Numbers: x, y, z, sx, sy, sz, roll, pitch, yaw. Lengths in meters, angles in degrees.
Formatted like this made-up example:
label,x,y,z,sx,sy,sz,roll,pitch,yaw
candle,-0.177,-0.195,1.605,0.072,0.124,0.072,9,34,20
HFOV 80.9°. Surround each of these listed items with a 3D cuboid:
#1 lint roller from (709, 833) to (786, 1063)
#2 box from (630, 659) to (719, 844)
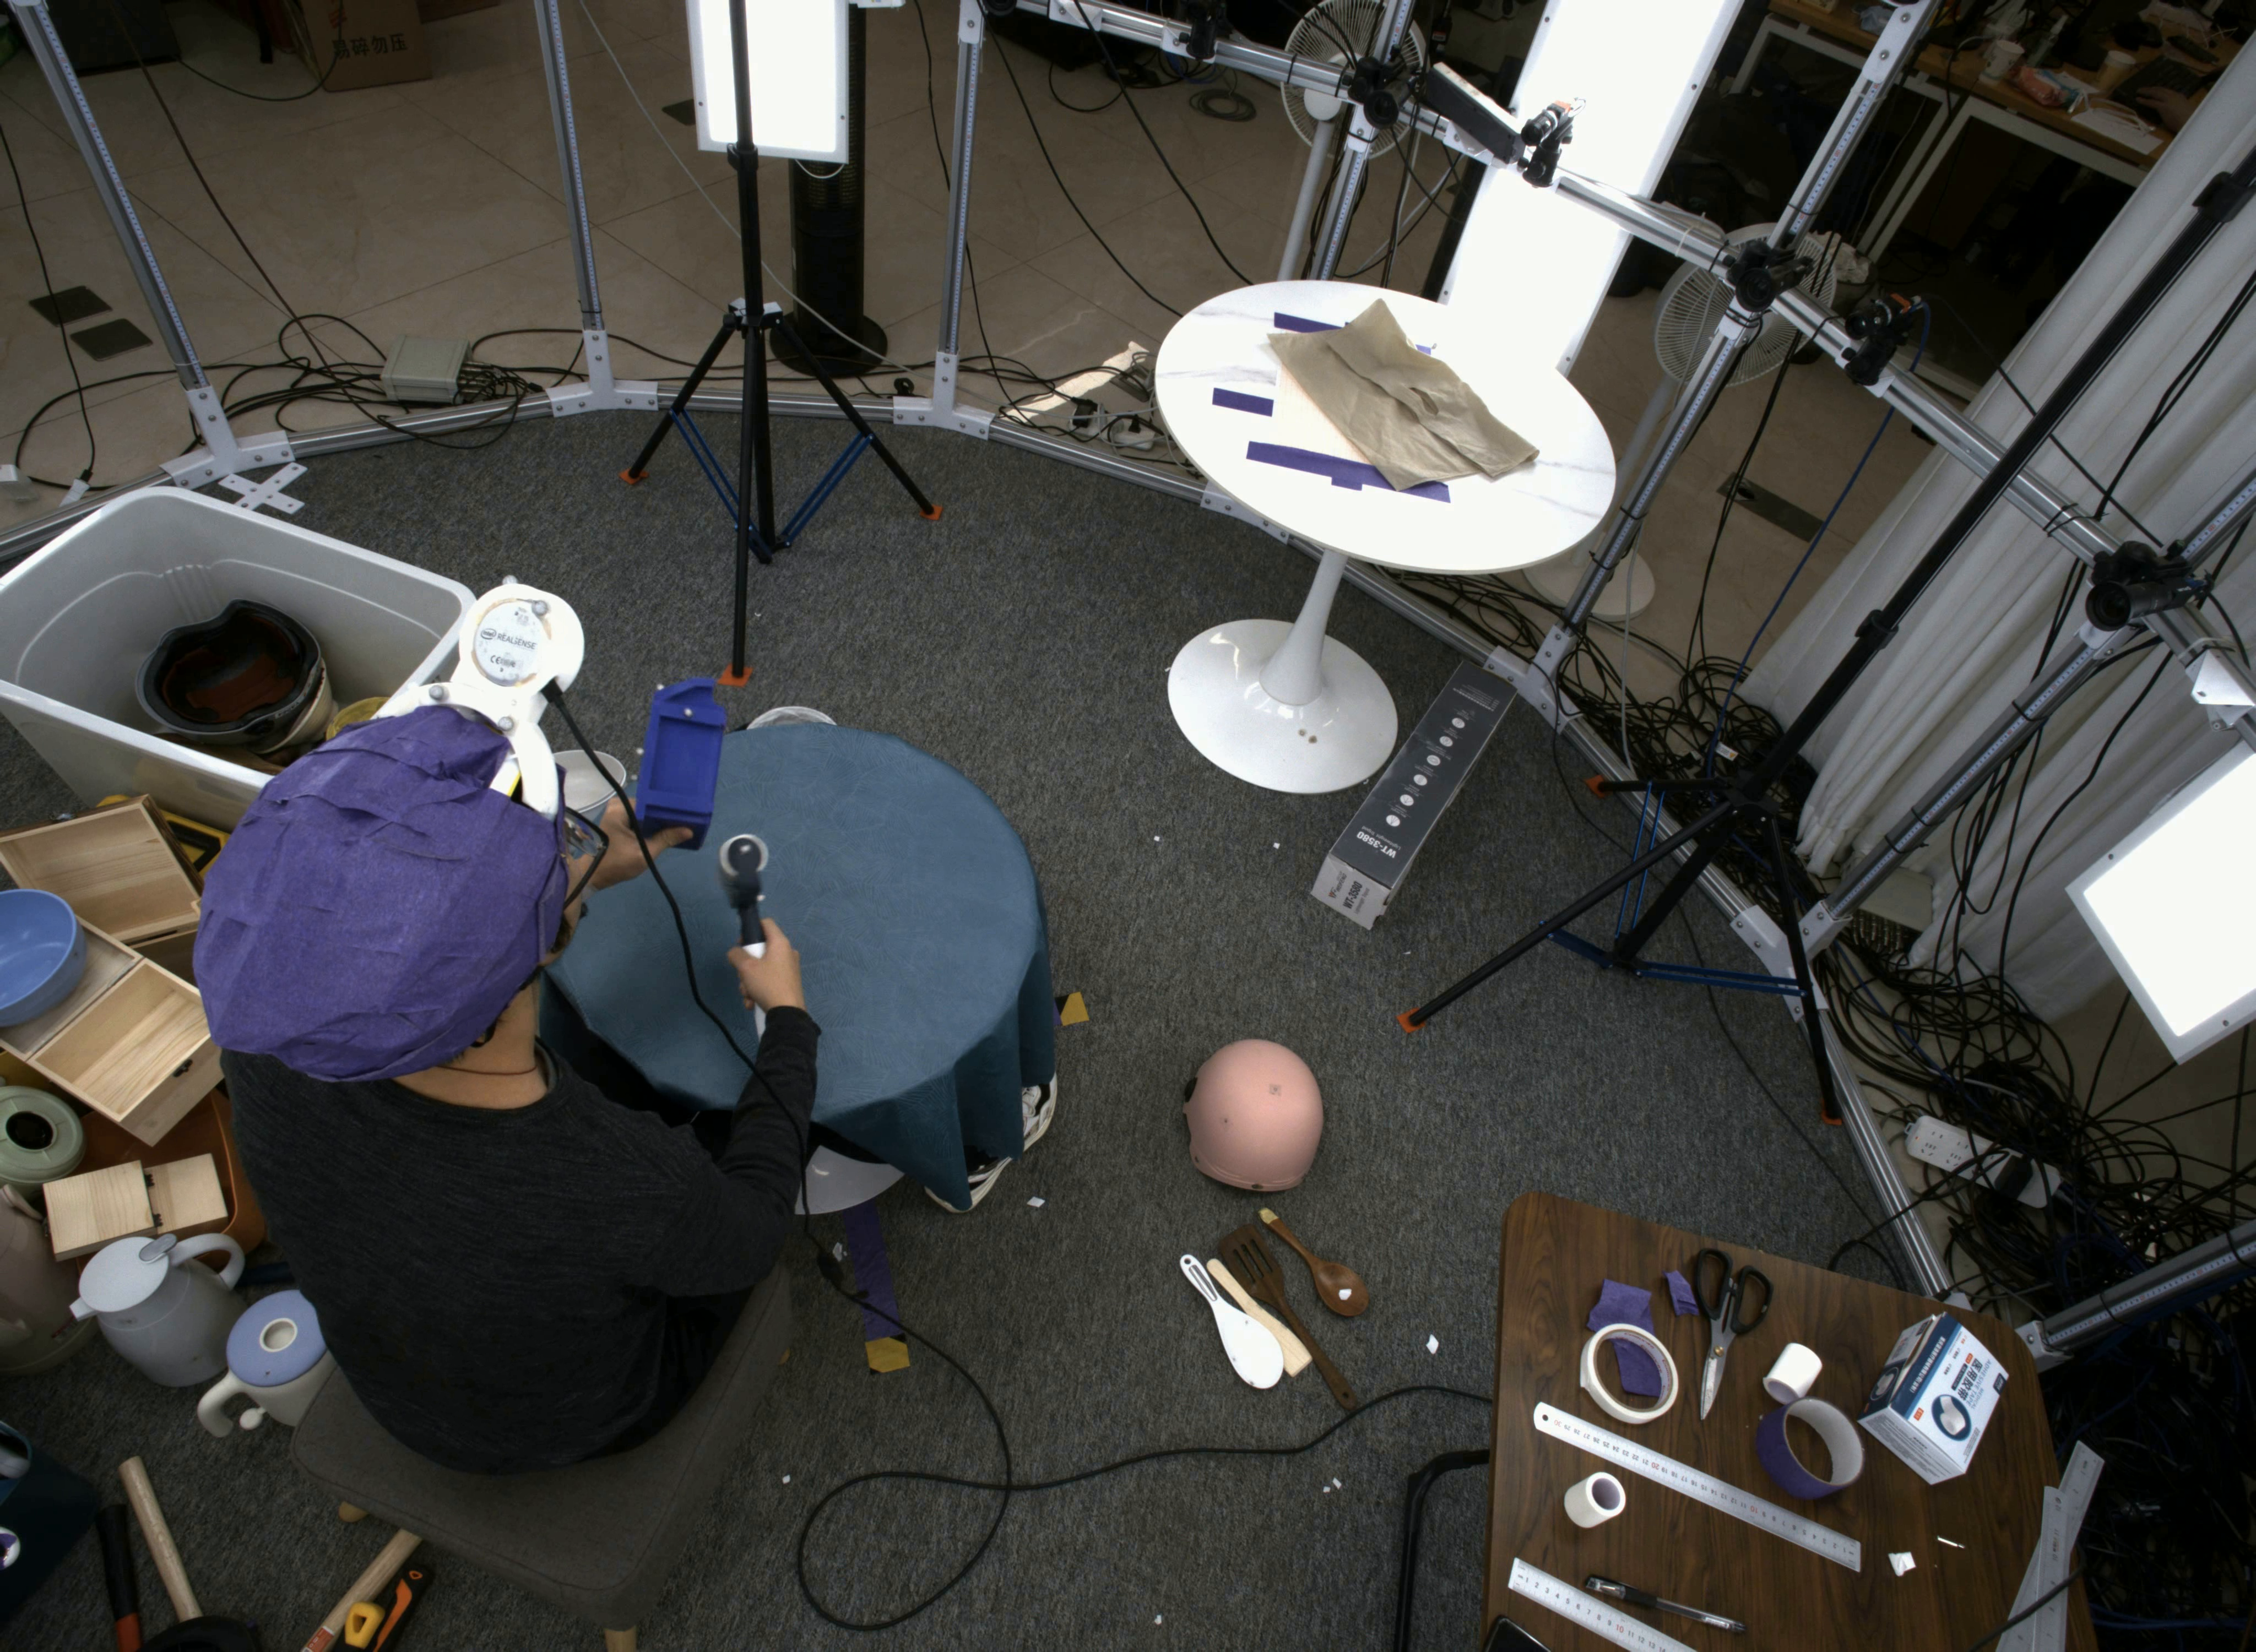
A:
label,x,y,z,sx,sy,sz,roll,pitch,yaw
lint roller,-0.421,0.140,1.461,0.050,0.174,0.249,-16,89,-22
box,-0.506,-0.082,1.432,0.083,0.124,0.178,6,70,-21
